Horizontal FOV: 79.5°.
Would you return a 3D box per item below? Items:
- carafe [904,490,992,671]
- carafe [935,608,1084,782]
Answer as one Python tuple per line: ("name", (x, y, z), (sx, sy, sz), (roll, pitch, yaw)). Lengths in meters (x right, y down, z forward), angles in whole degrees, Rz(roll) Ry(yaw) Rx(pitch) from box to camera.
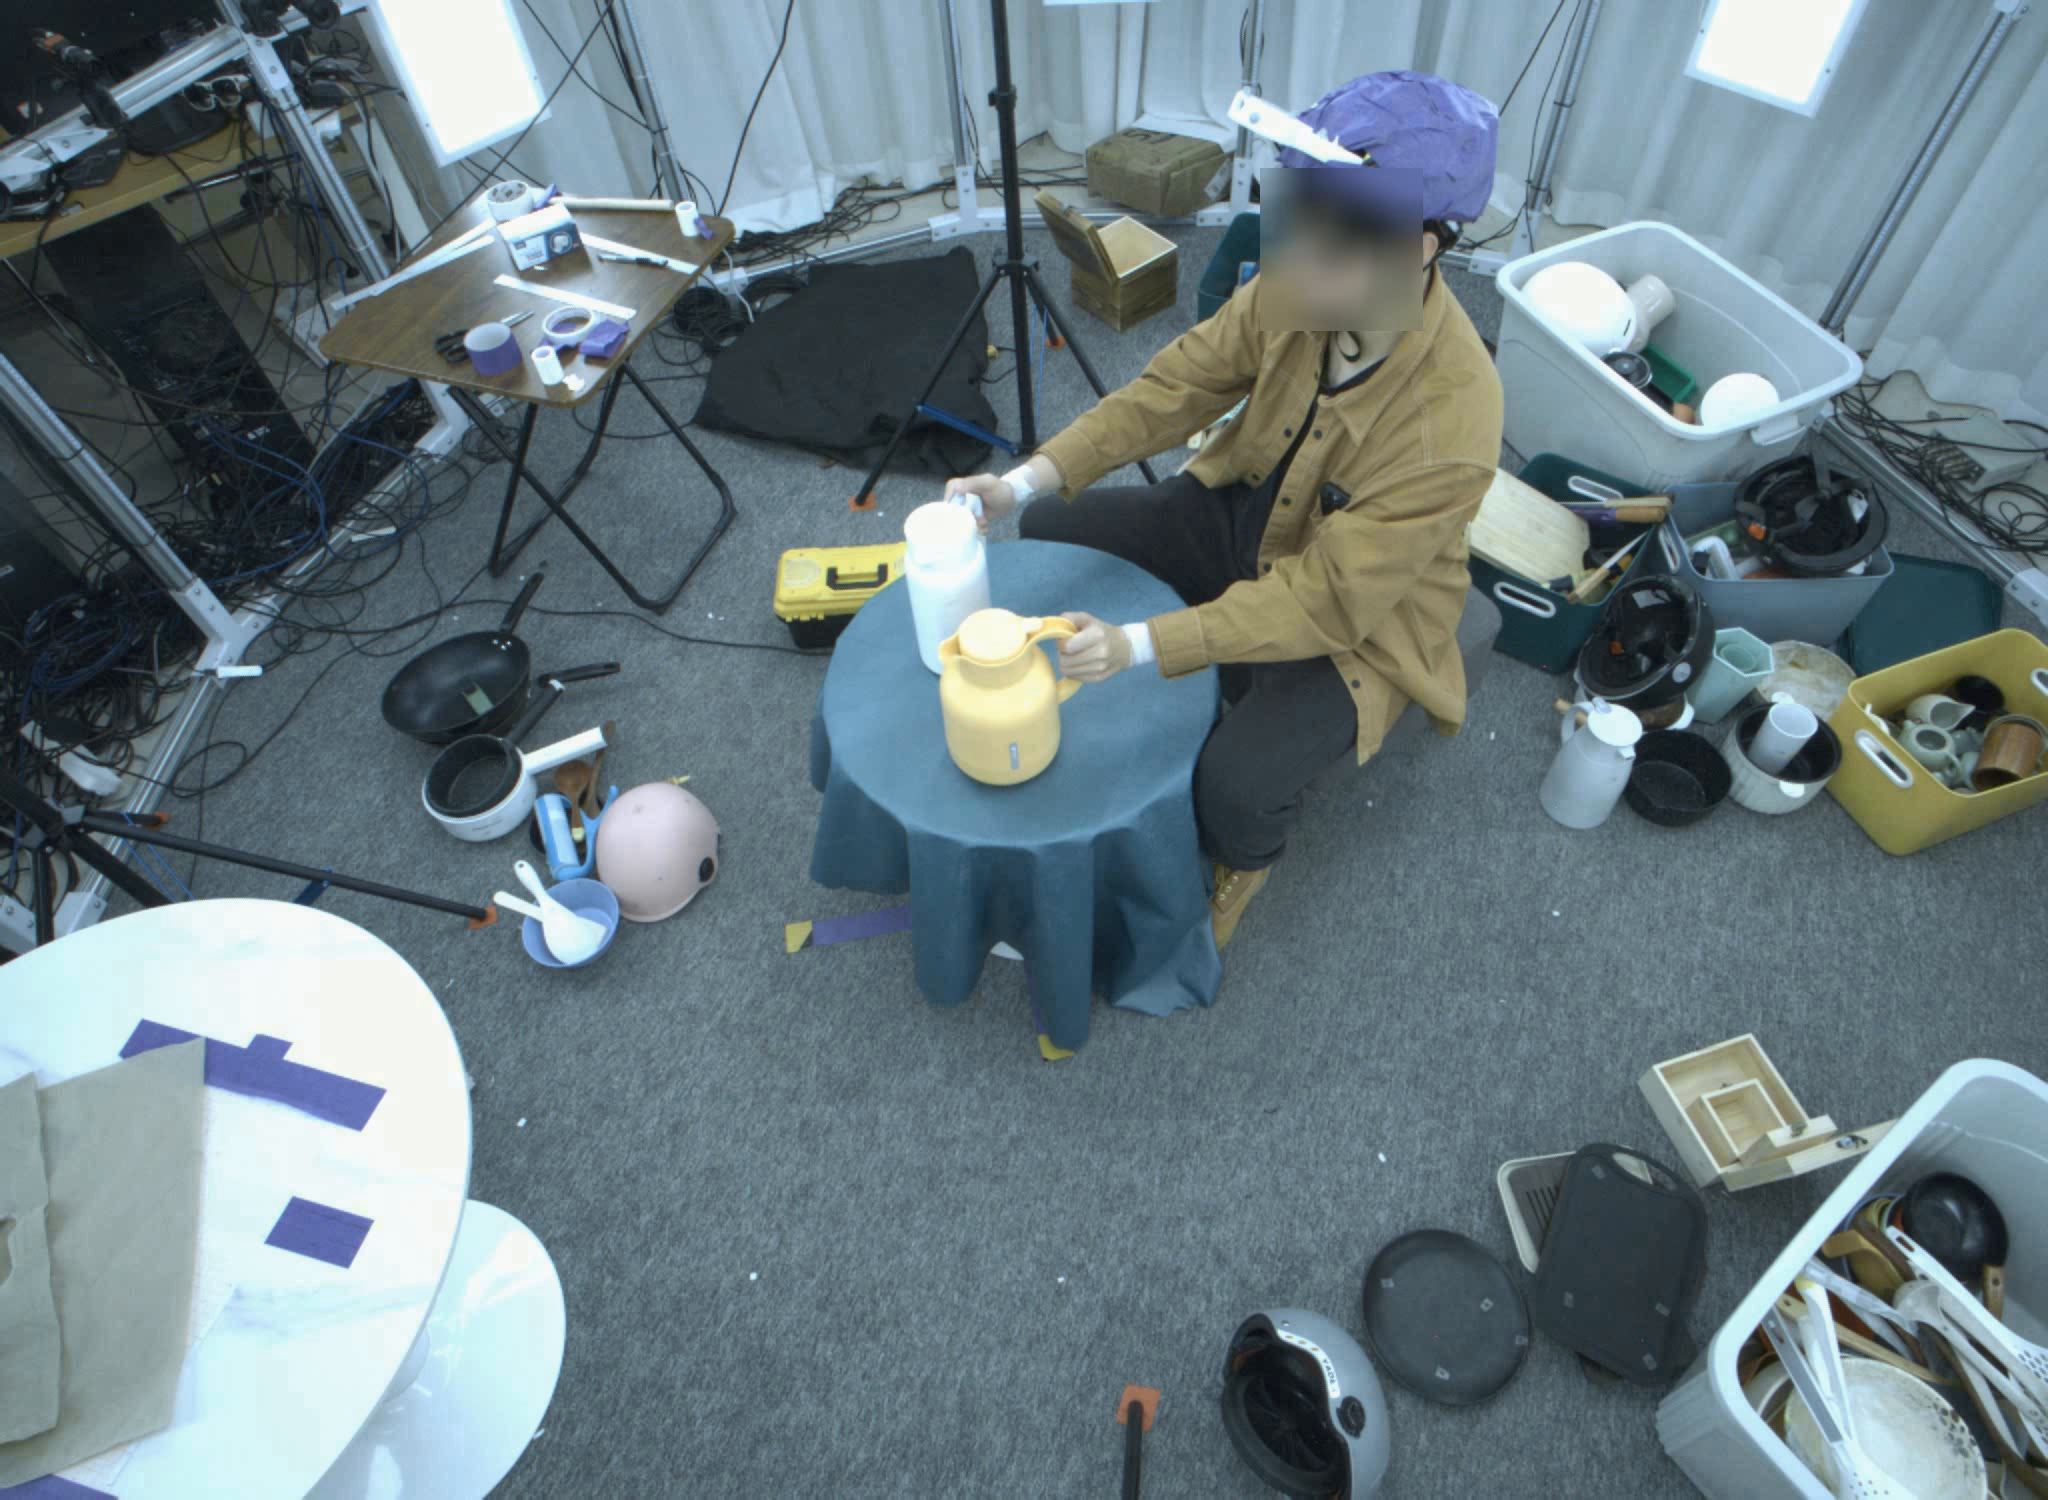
("carafe", (-0.104, -0.247, 1.797), (0.122, 0.272, 0.173), (15, 57, 17))
("carafe", (-0.016, -0.084, 1.681), (0.203, 0.263, 0.161), (-14, 58, -5))
